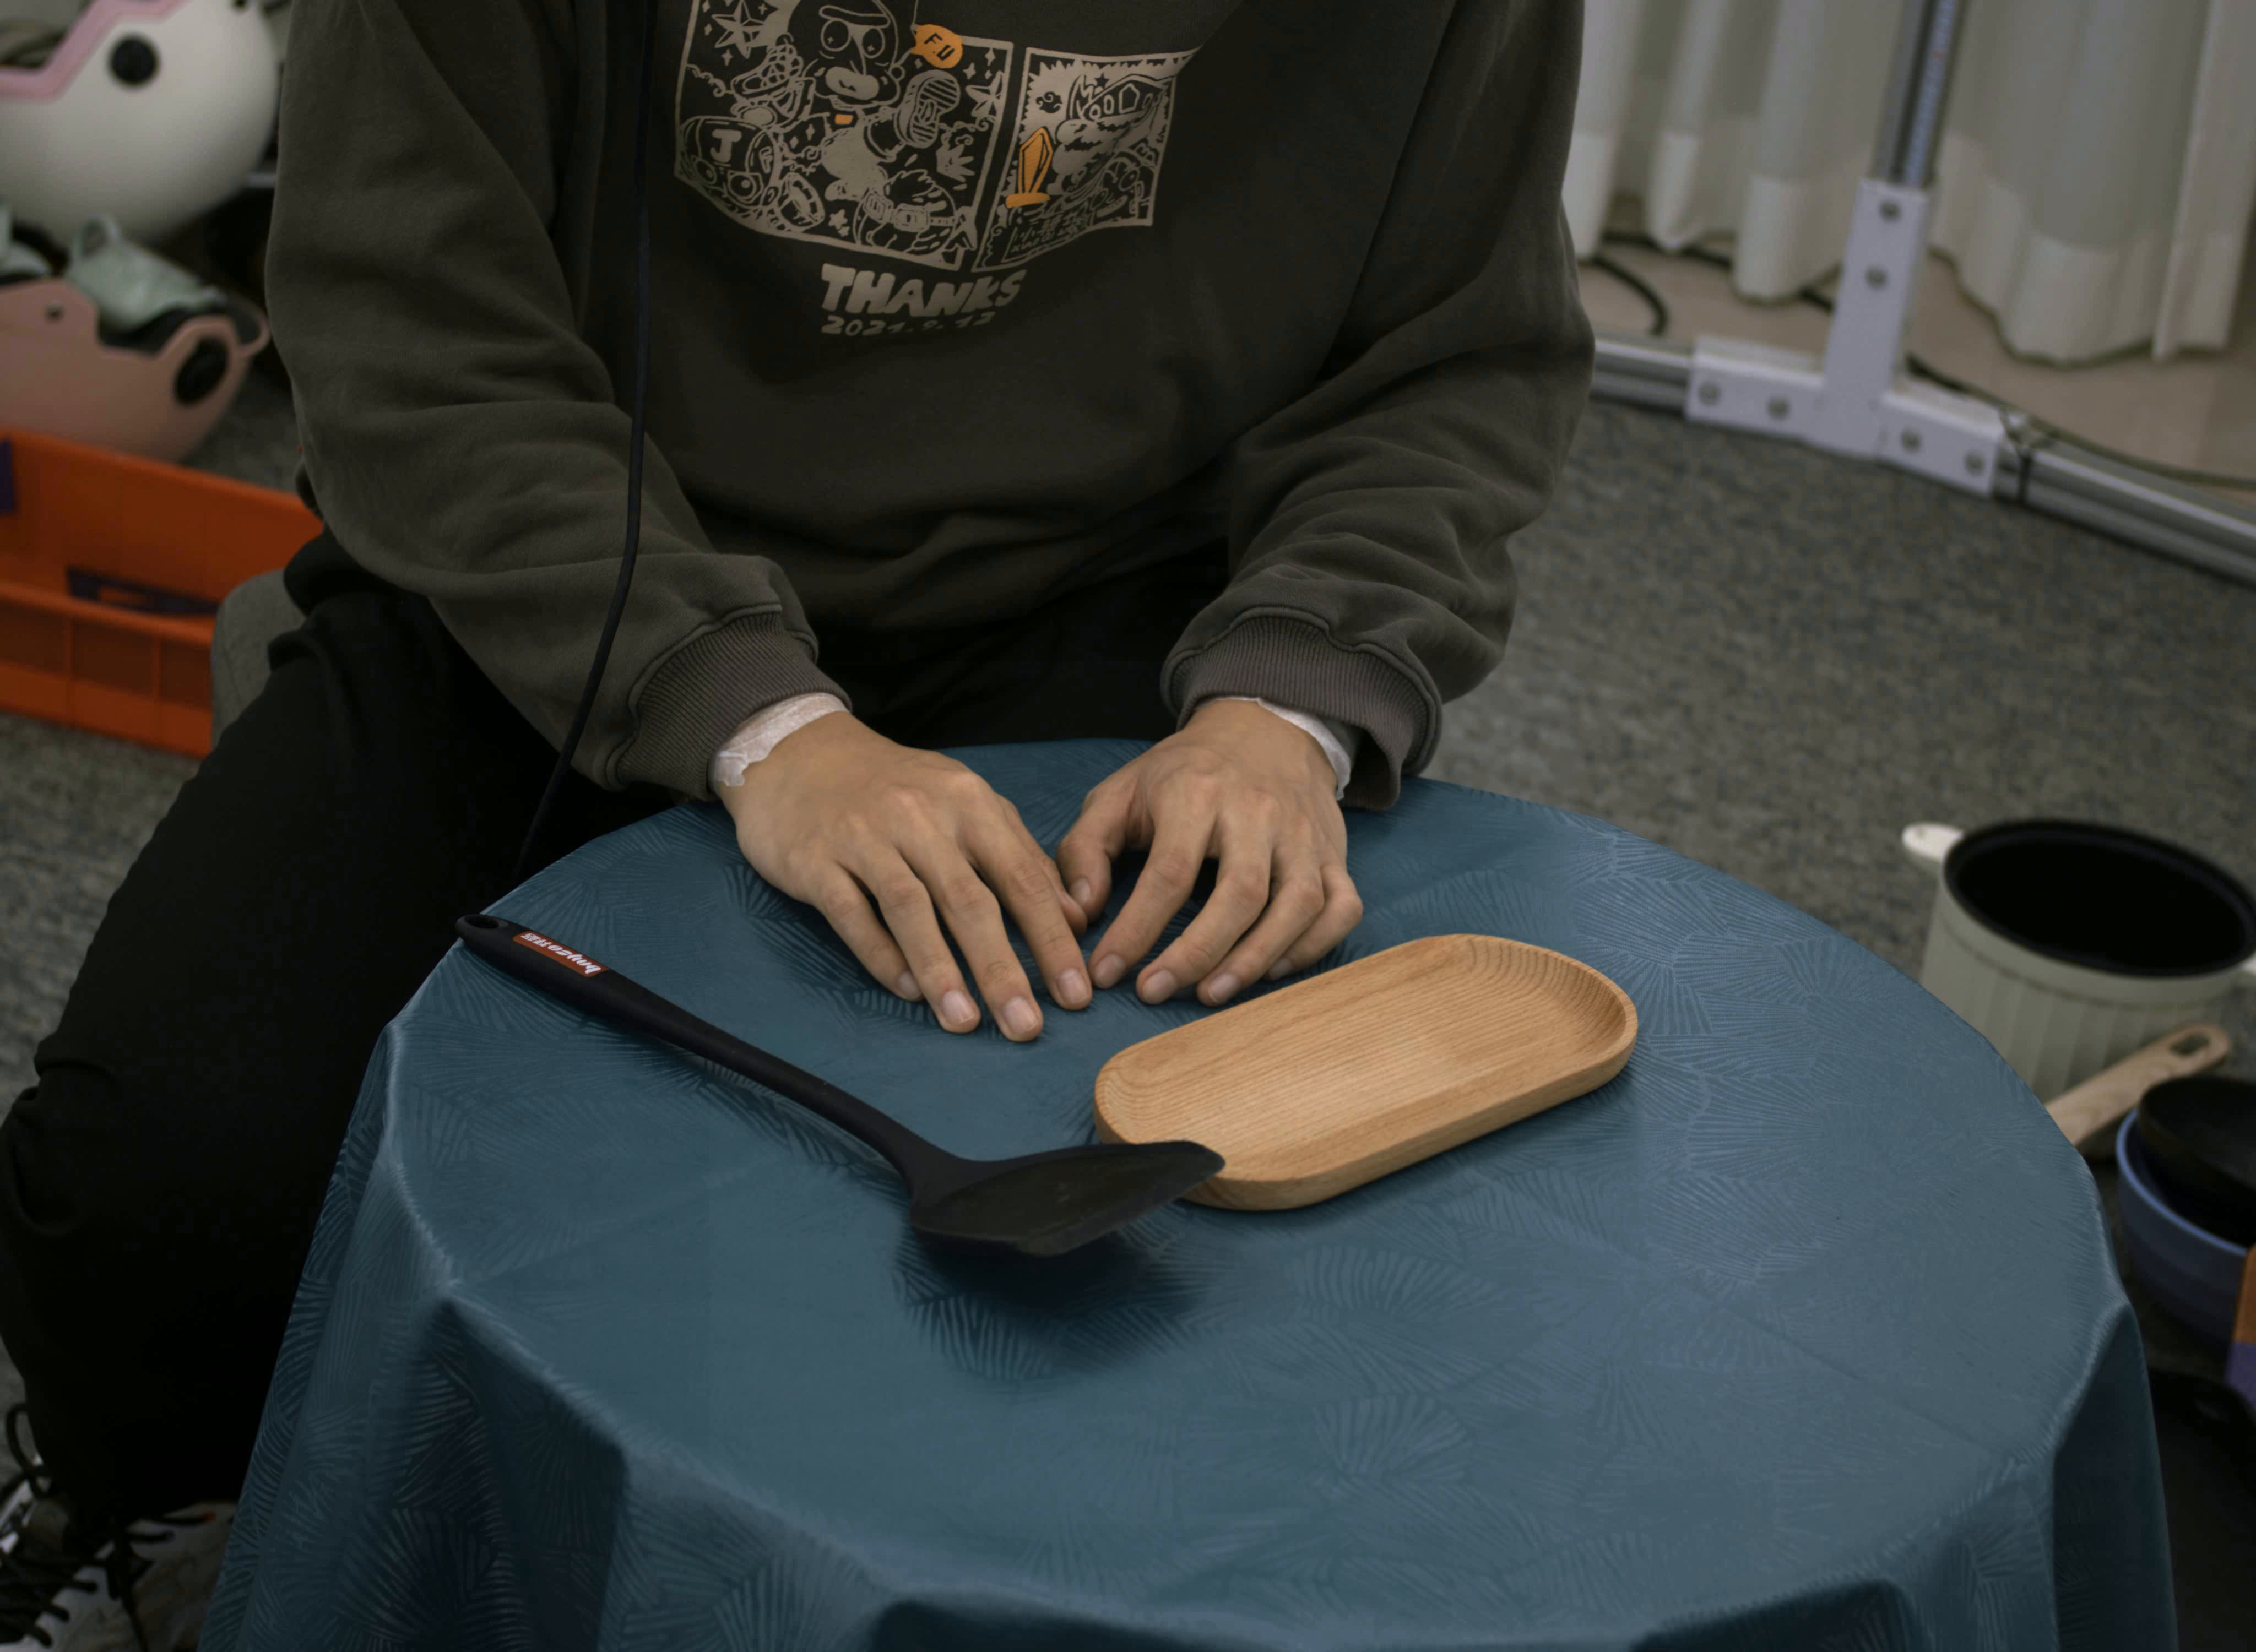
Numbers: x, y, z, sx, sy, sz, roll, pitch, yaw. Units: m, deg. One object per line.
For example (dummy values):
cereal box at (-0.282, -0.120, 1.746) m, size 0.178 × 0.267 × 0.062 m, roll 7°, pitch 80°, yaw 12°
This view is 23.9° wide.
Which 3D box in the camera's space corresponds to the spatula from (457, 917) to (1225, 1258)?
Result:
spatula at (-0.116, 0.082, 1.820) m, size 0.328 × 0.040 × 0.099 m, roll 26°, pitch 31°, yaw 34°

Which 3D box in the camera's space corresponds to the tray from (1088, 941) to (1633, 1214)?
tray at (0.084, 0.088, 1.876) m, size 0.230 × 0.020 × 0.102 m, roll -19°, pitch 36°, yaw -39°
